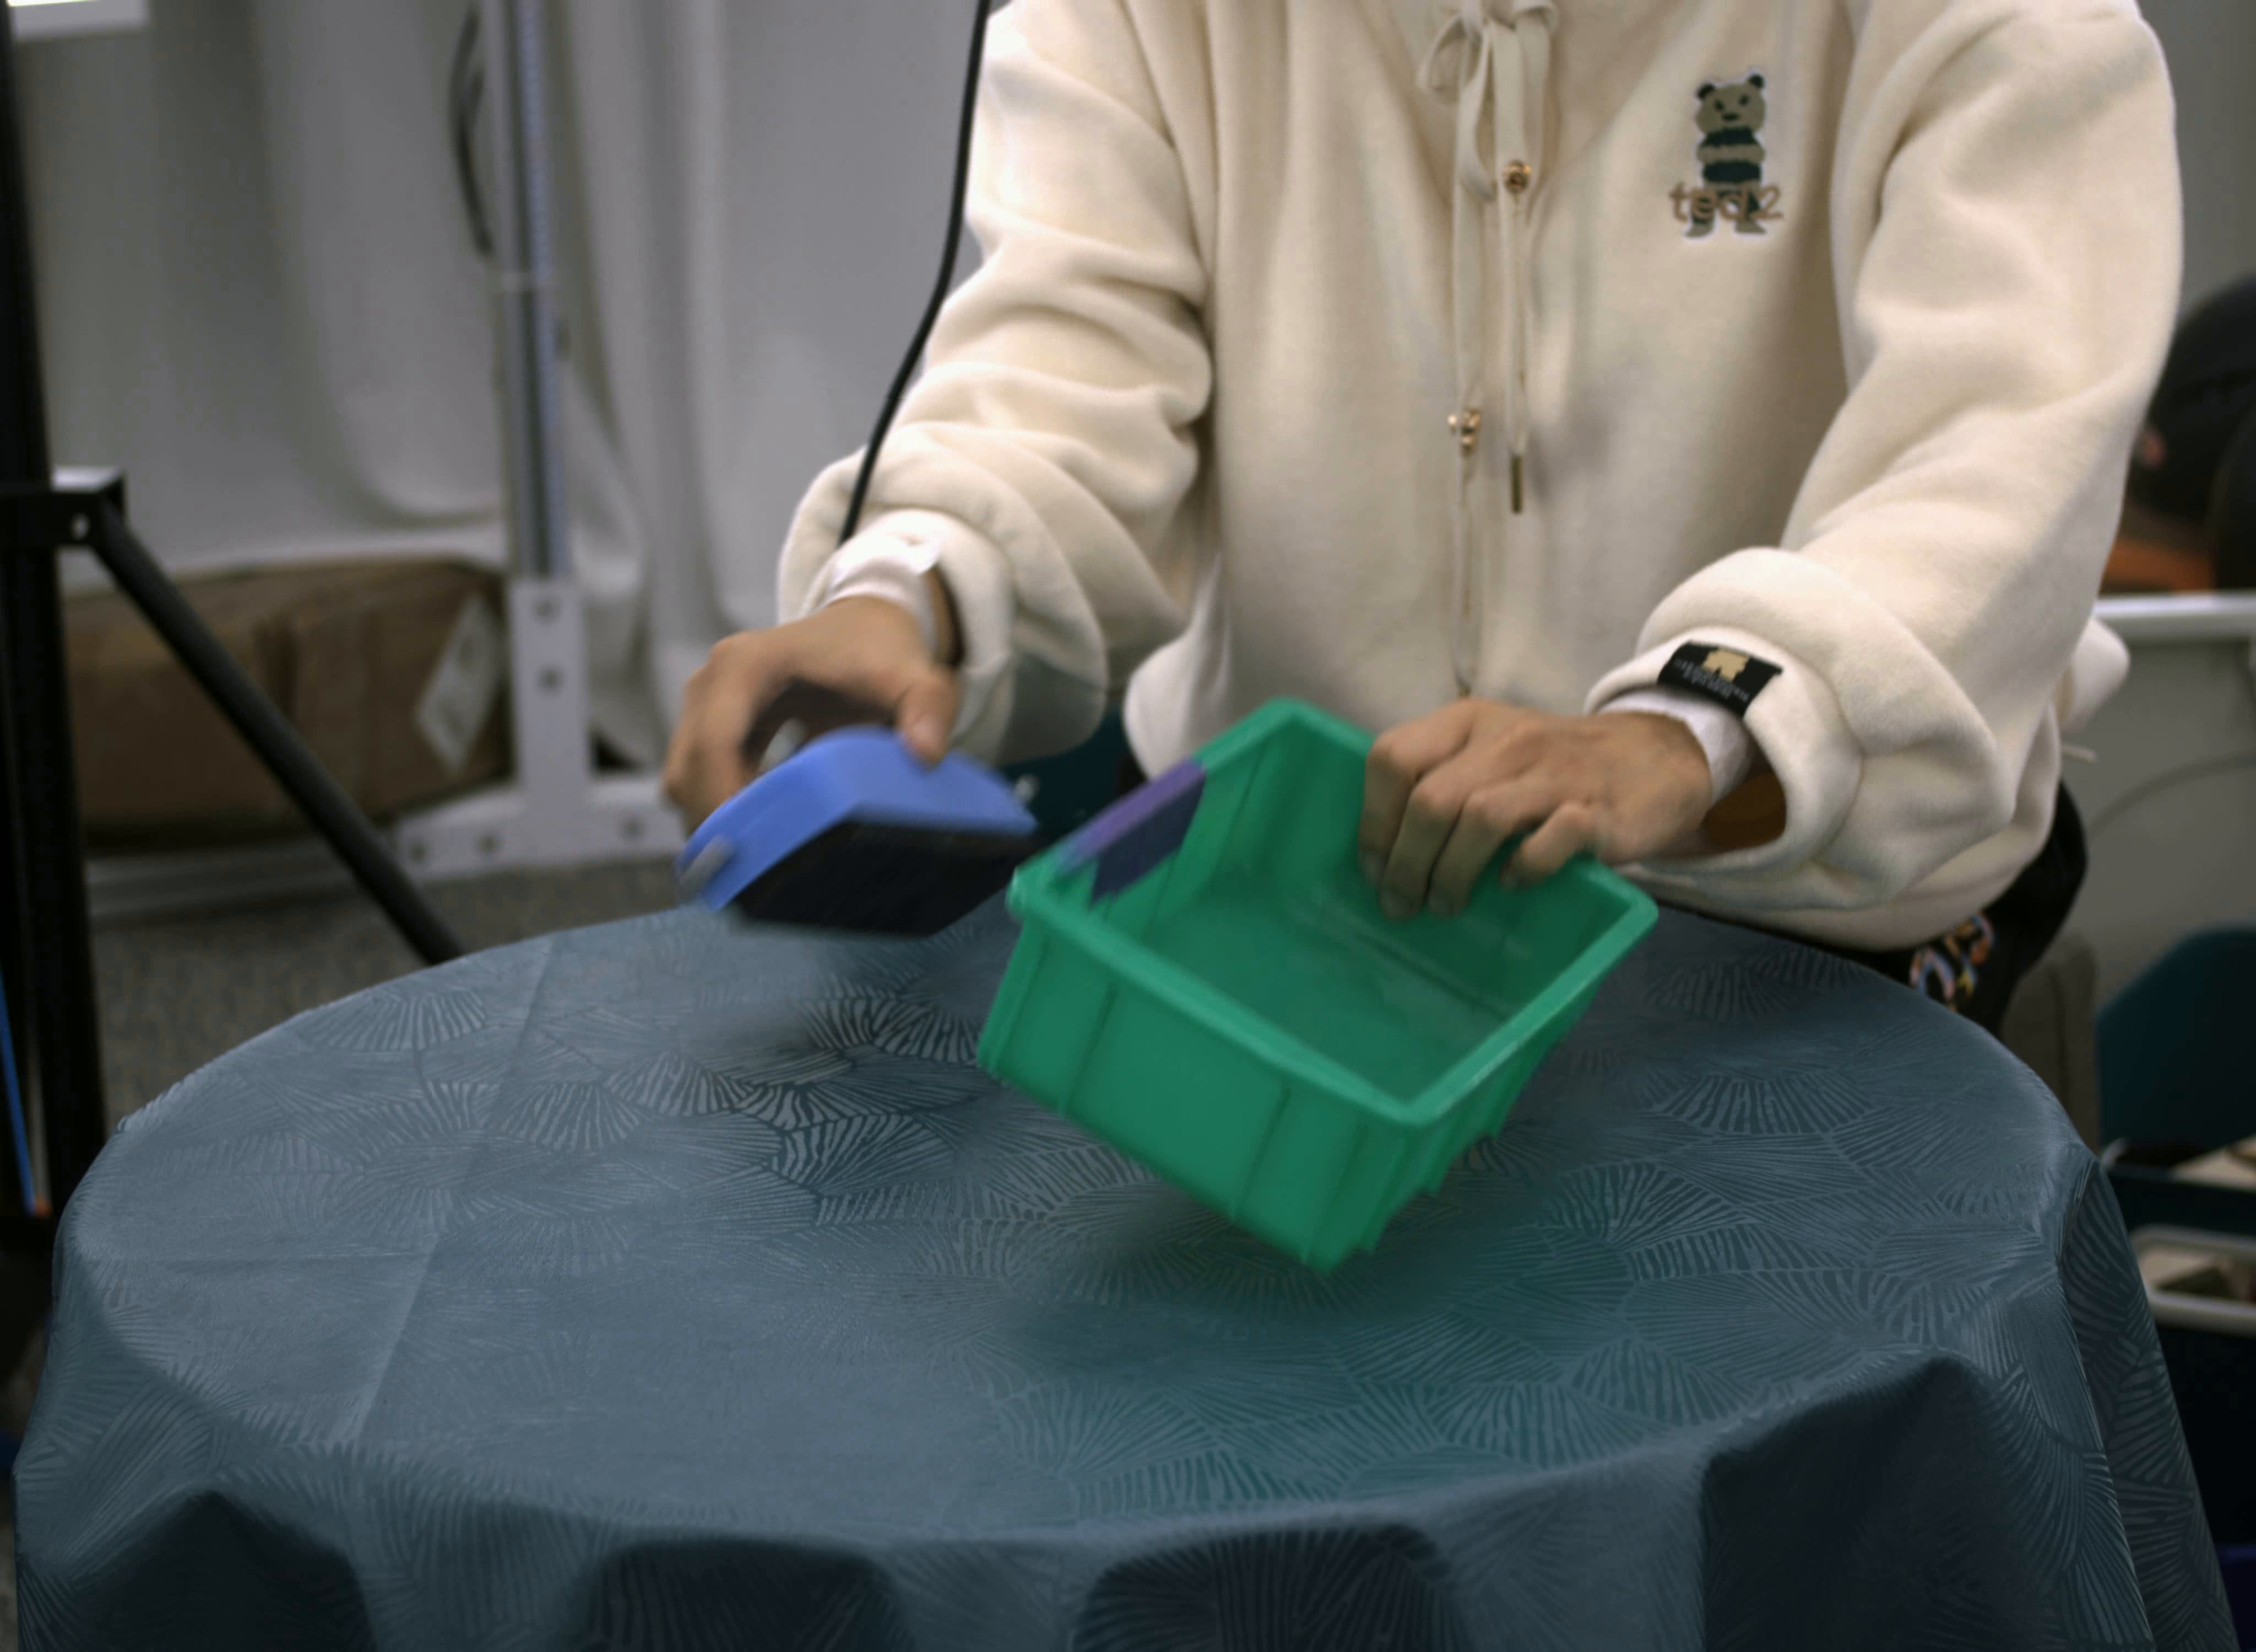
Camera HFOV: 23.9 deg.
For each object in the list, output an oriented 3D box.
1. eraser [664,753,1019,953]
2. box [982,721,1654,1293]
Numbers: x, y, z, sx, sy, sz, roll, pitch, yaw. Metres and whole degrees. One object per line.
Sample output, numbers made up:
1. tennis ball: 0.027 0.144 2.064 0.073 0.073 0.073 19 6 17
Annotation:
1. eraser: -0.090 0.008 1.657 0.054 0.048 0.159 -35 -12 17
2. box: 0.053 0.051 1.525 0.140 0.065 0.207 26 27 16
